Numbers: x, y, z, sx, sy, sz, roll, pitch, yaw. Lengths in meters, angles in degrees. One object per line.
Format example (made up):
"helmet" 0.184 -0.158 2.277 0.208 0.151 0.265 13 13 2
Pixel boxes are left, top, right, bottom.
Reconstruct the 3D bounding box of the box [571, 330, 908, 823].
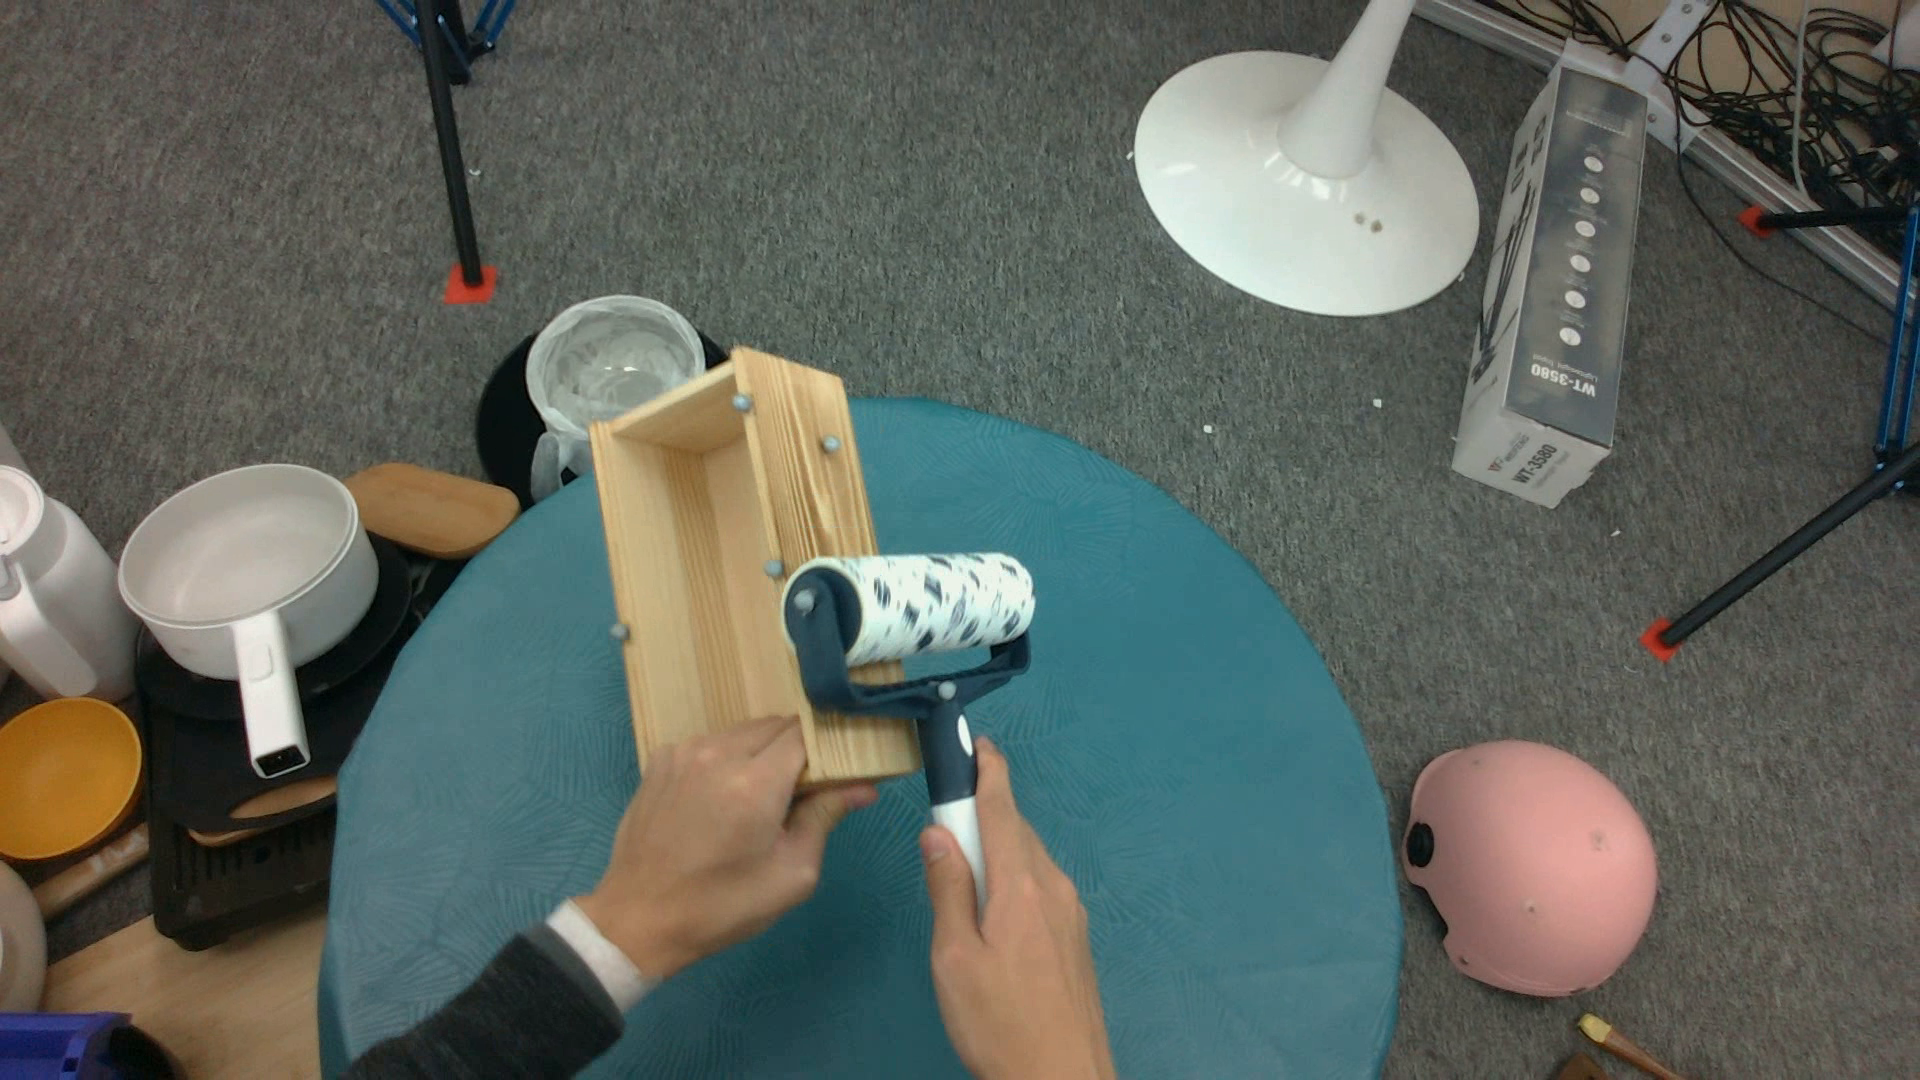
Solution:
"box" -0.110 0.020 0.676 0.080 0.107 0.212 11 61 -58

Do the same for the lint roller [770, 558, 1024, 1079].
"lint roller" -0.001 0.128 0.644 0.050 0.176 0.247 -18 82 26
